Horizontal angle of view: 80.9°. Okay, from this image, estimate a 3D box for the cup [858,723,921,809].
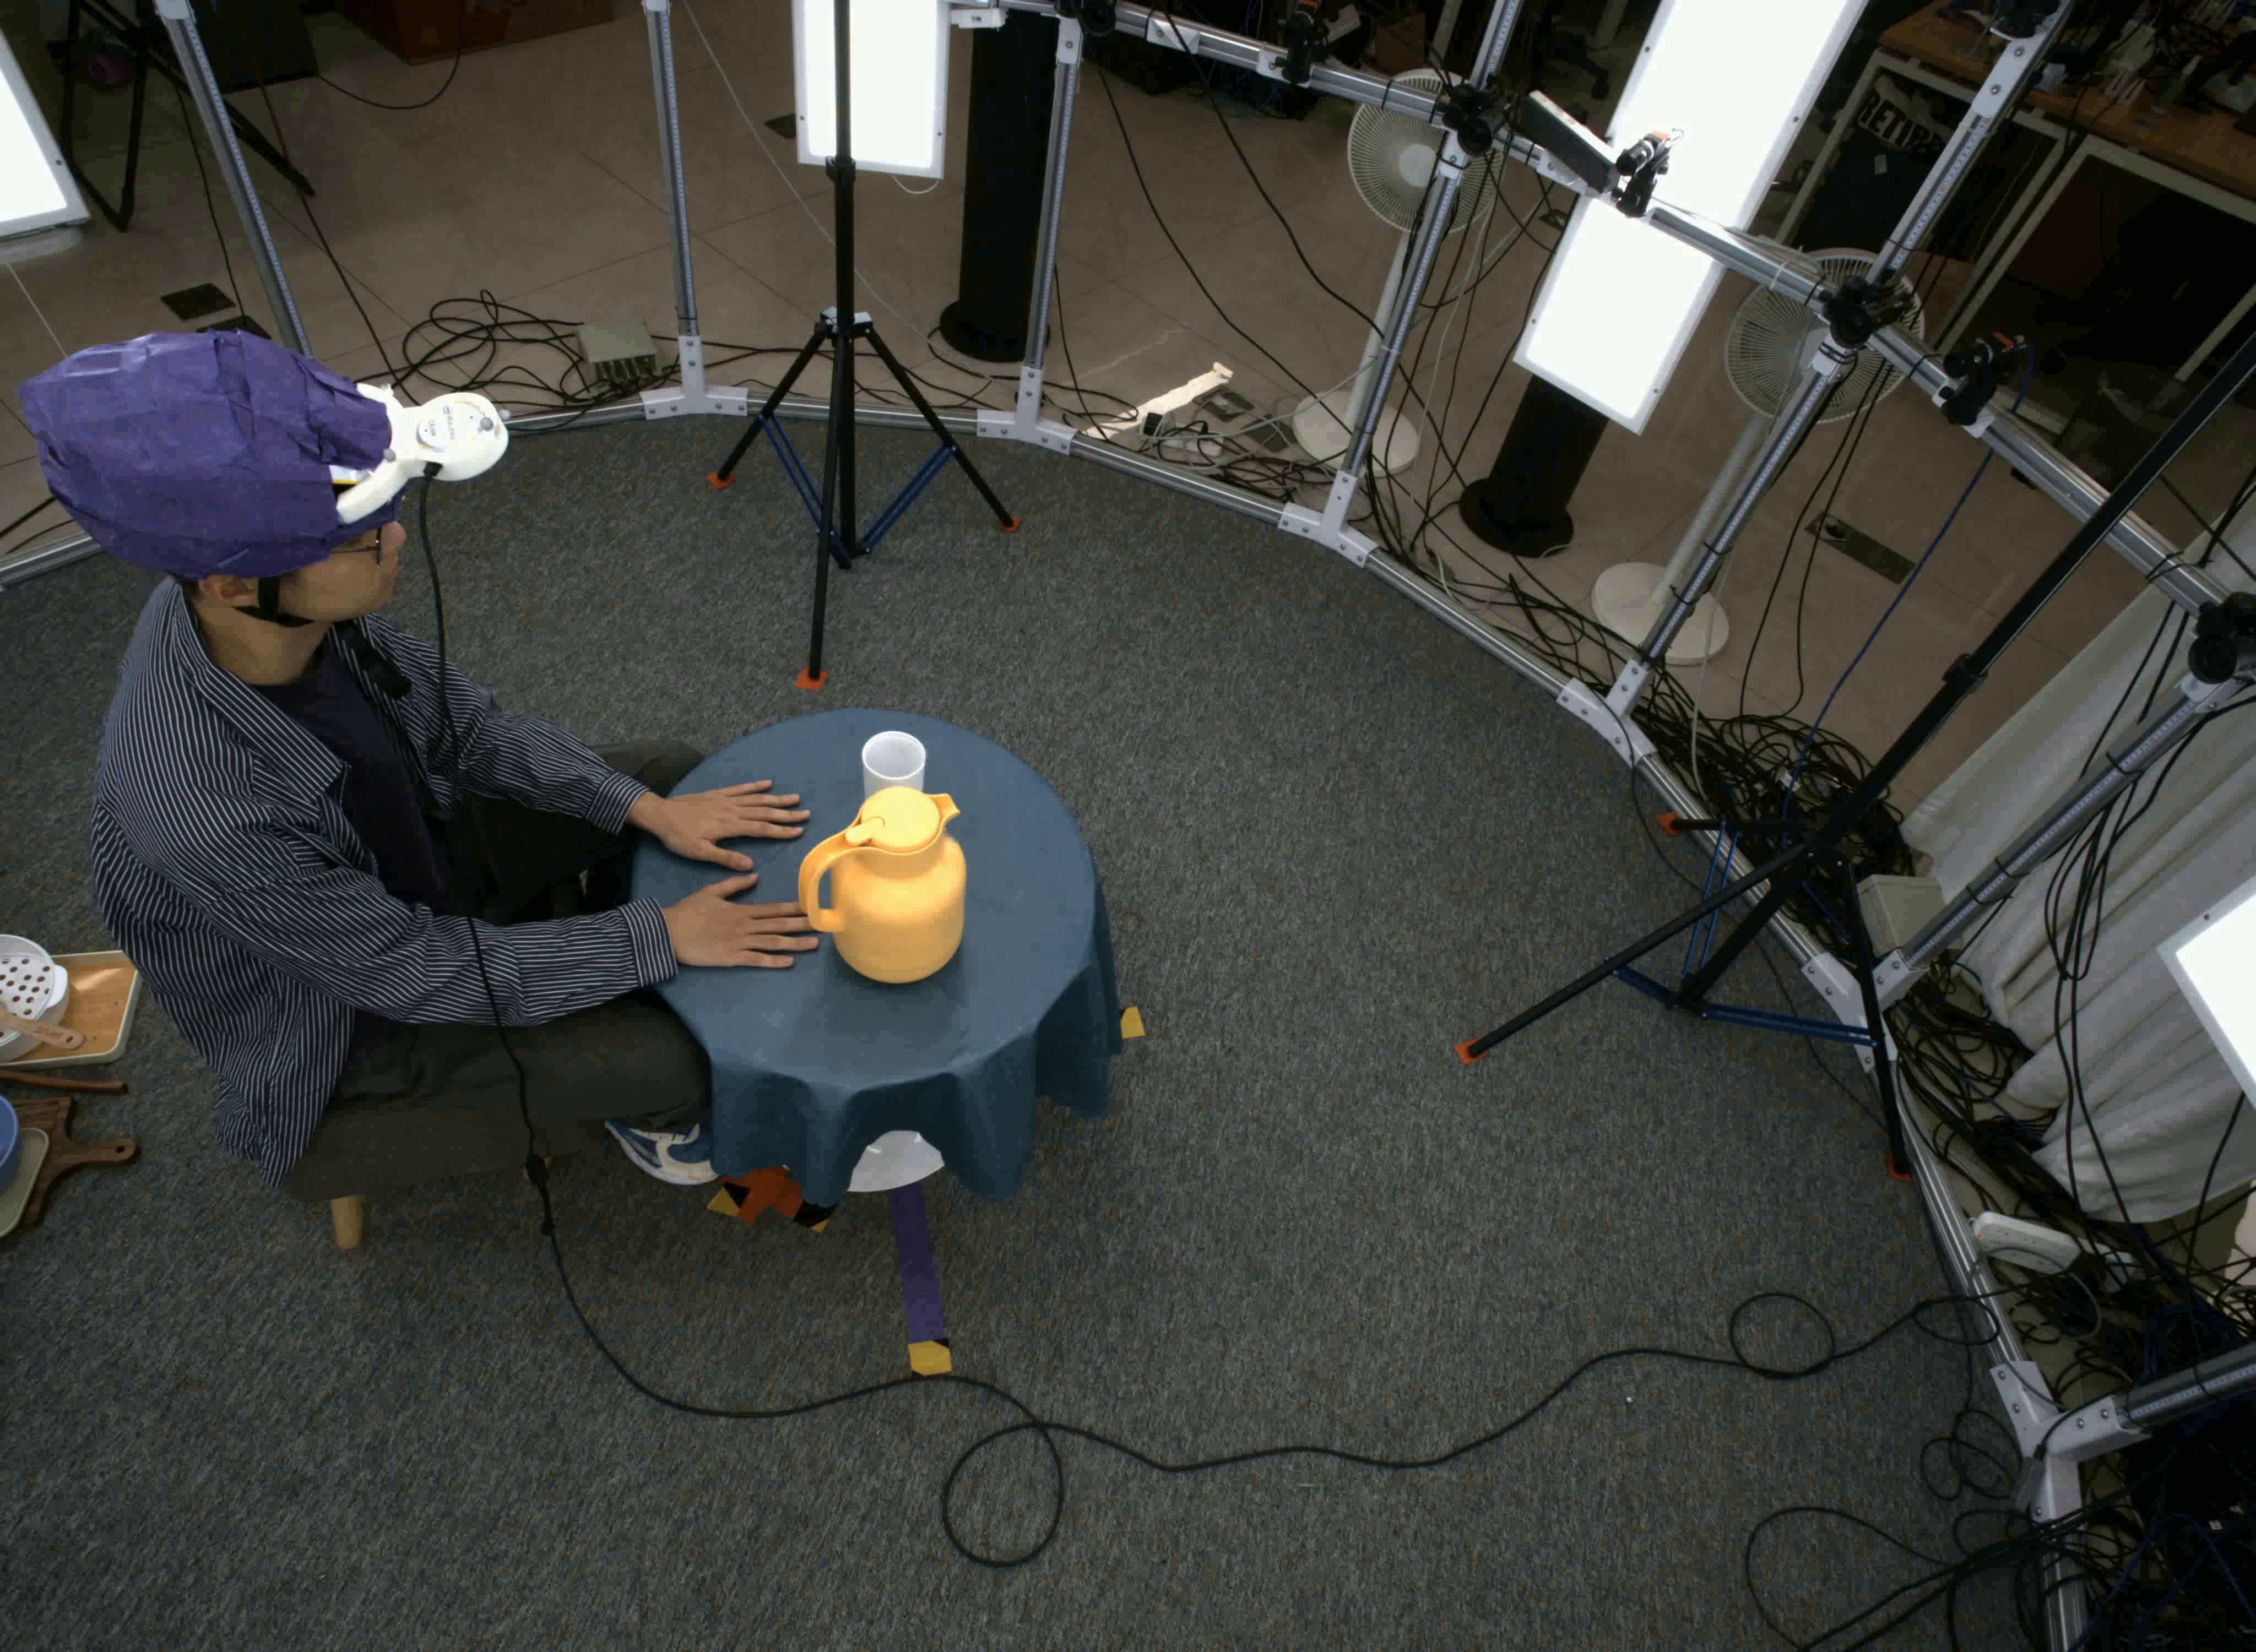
[{"bbox_3d":[-0.317,-0.065,1.731,0.081,0.128,0.080,6,52,-6],"label":"cup"}]

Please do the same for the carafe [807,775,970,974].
[{"bbox_3d":[-0.289,0.058,1.563,0.203,0.266,0.159,-25,60,-27],"label":"carafe"}]
